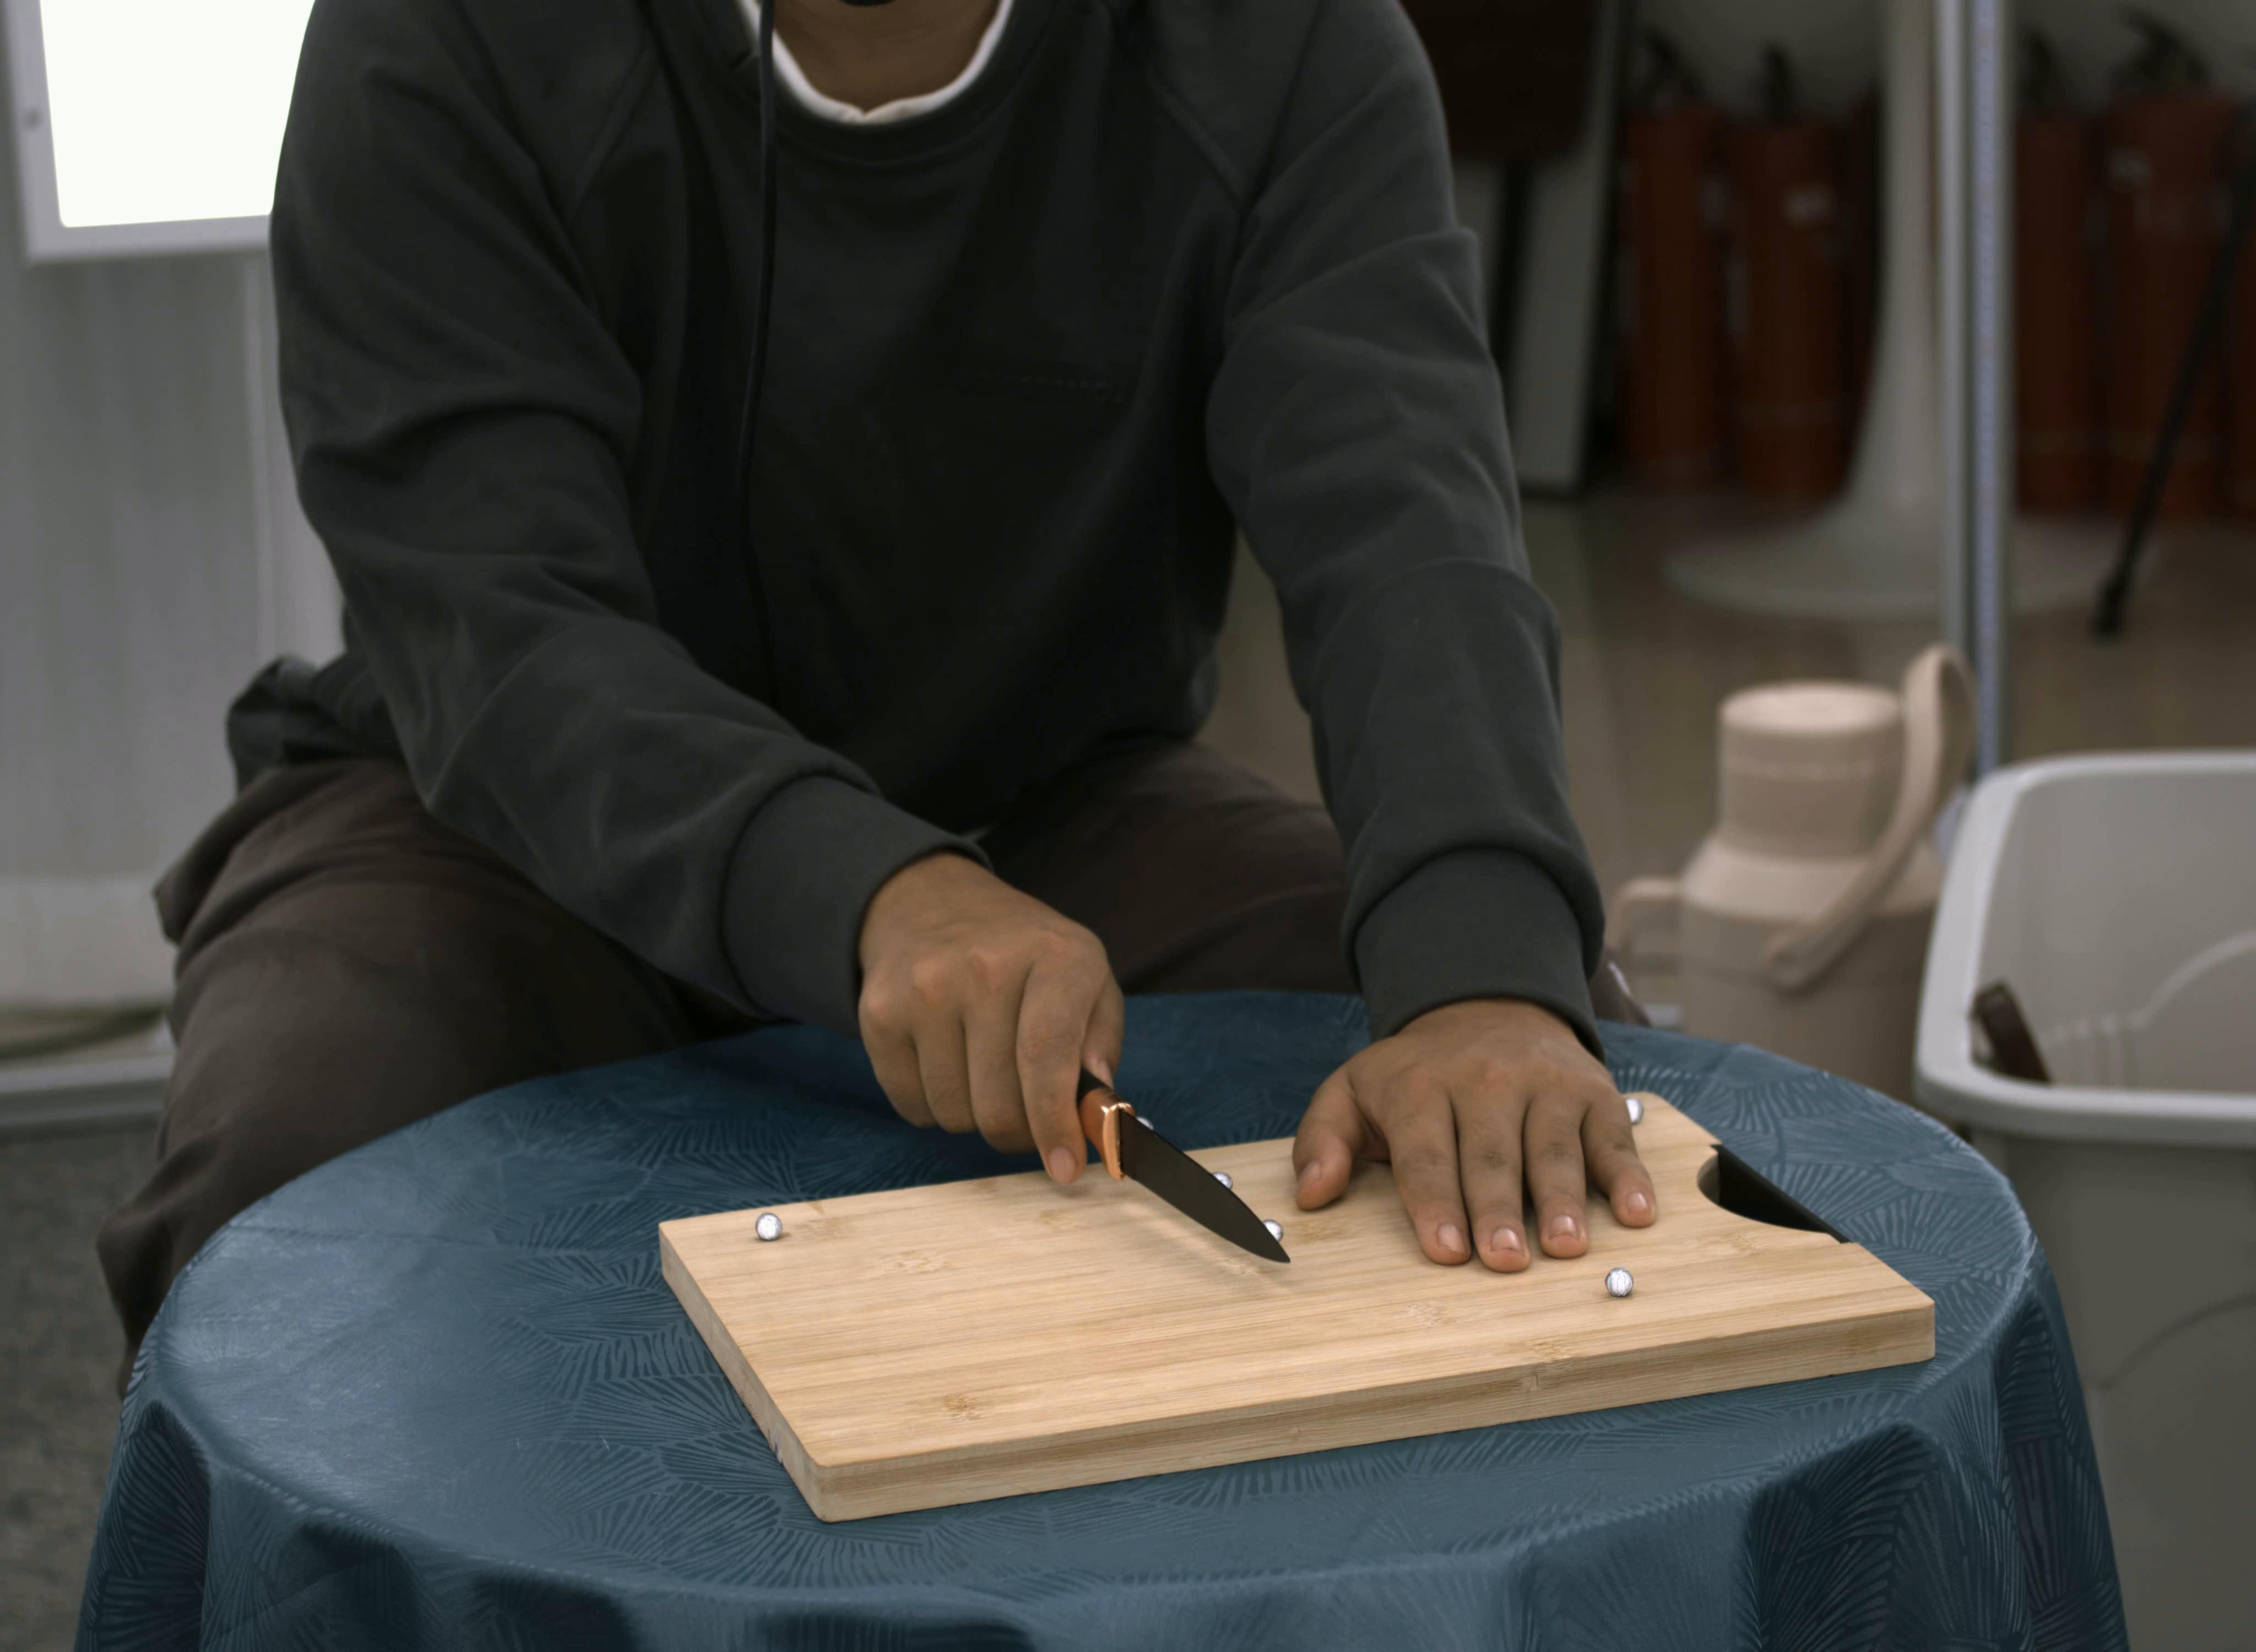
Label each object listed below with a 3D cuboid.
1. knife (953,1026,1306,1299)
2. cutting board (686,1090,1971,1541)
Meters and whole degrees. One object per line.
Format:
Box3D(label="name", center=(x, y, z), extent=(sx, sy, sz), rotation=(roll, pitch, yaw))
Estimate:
Box3D(label="knife", center=(-0.001, 0.103, 1.698), extent=(0.017, 0.026, 0.228), rotation=(-12, 21, -25))
Box3D(label="cutting board", center=(0.050, 0.142, 1.642), extent=(0.342, 0.024, 0.253), rotation=(-8, 15, -14))
